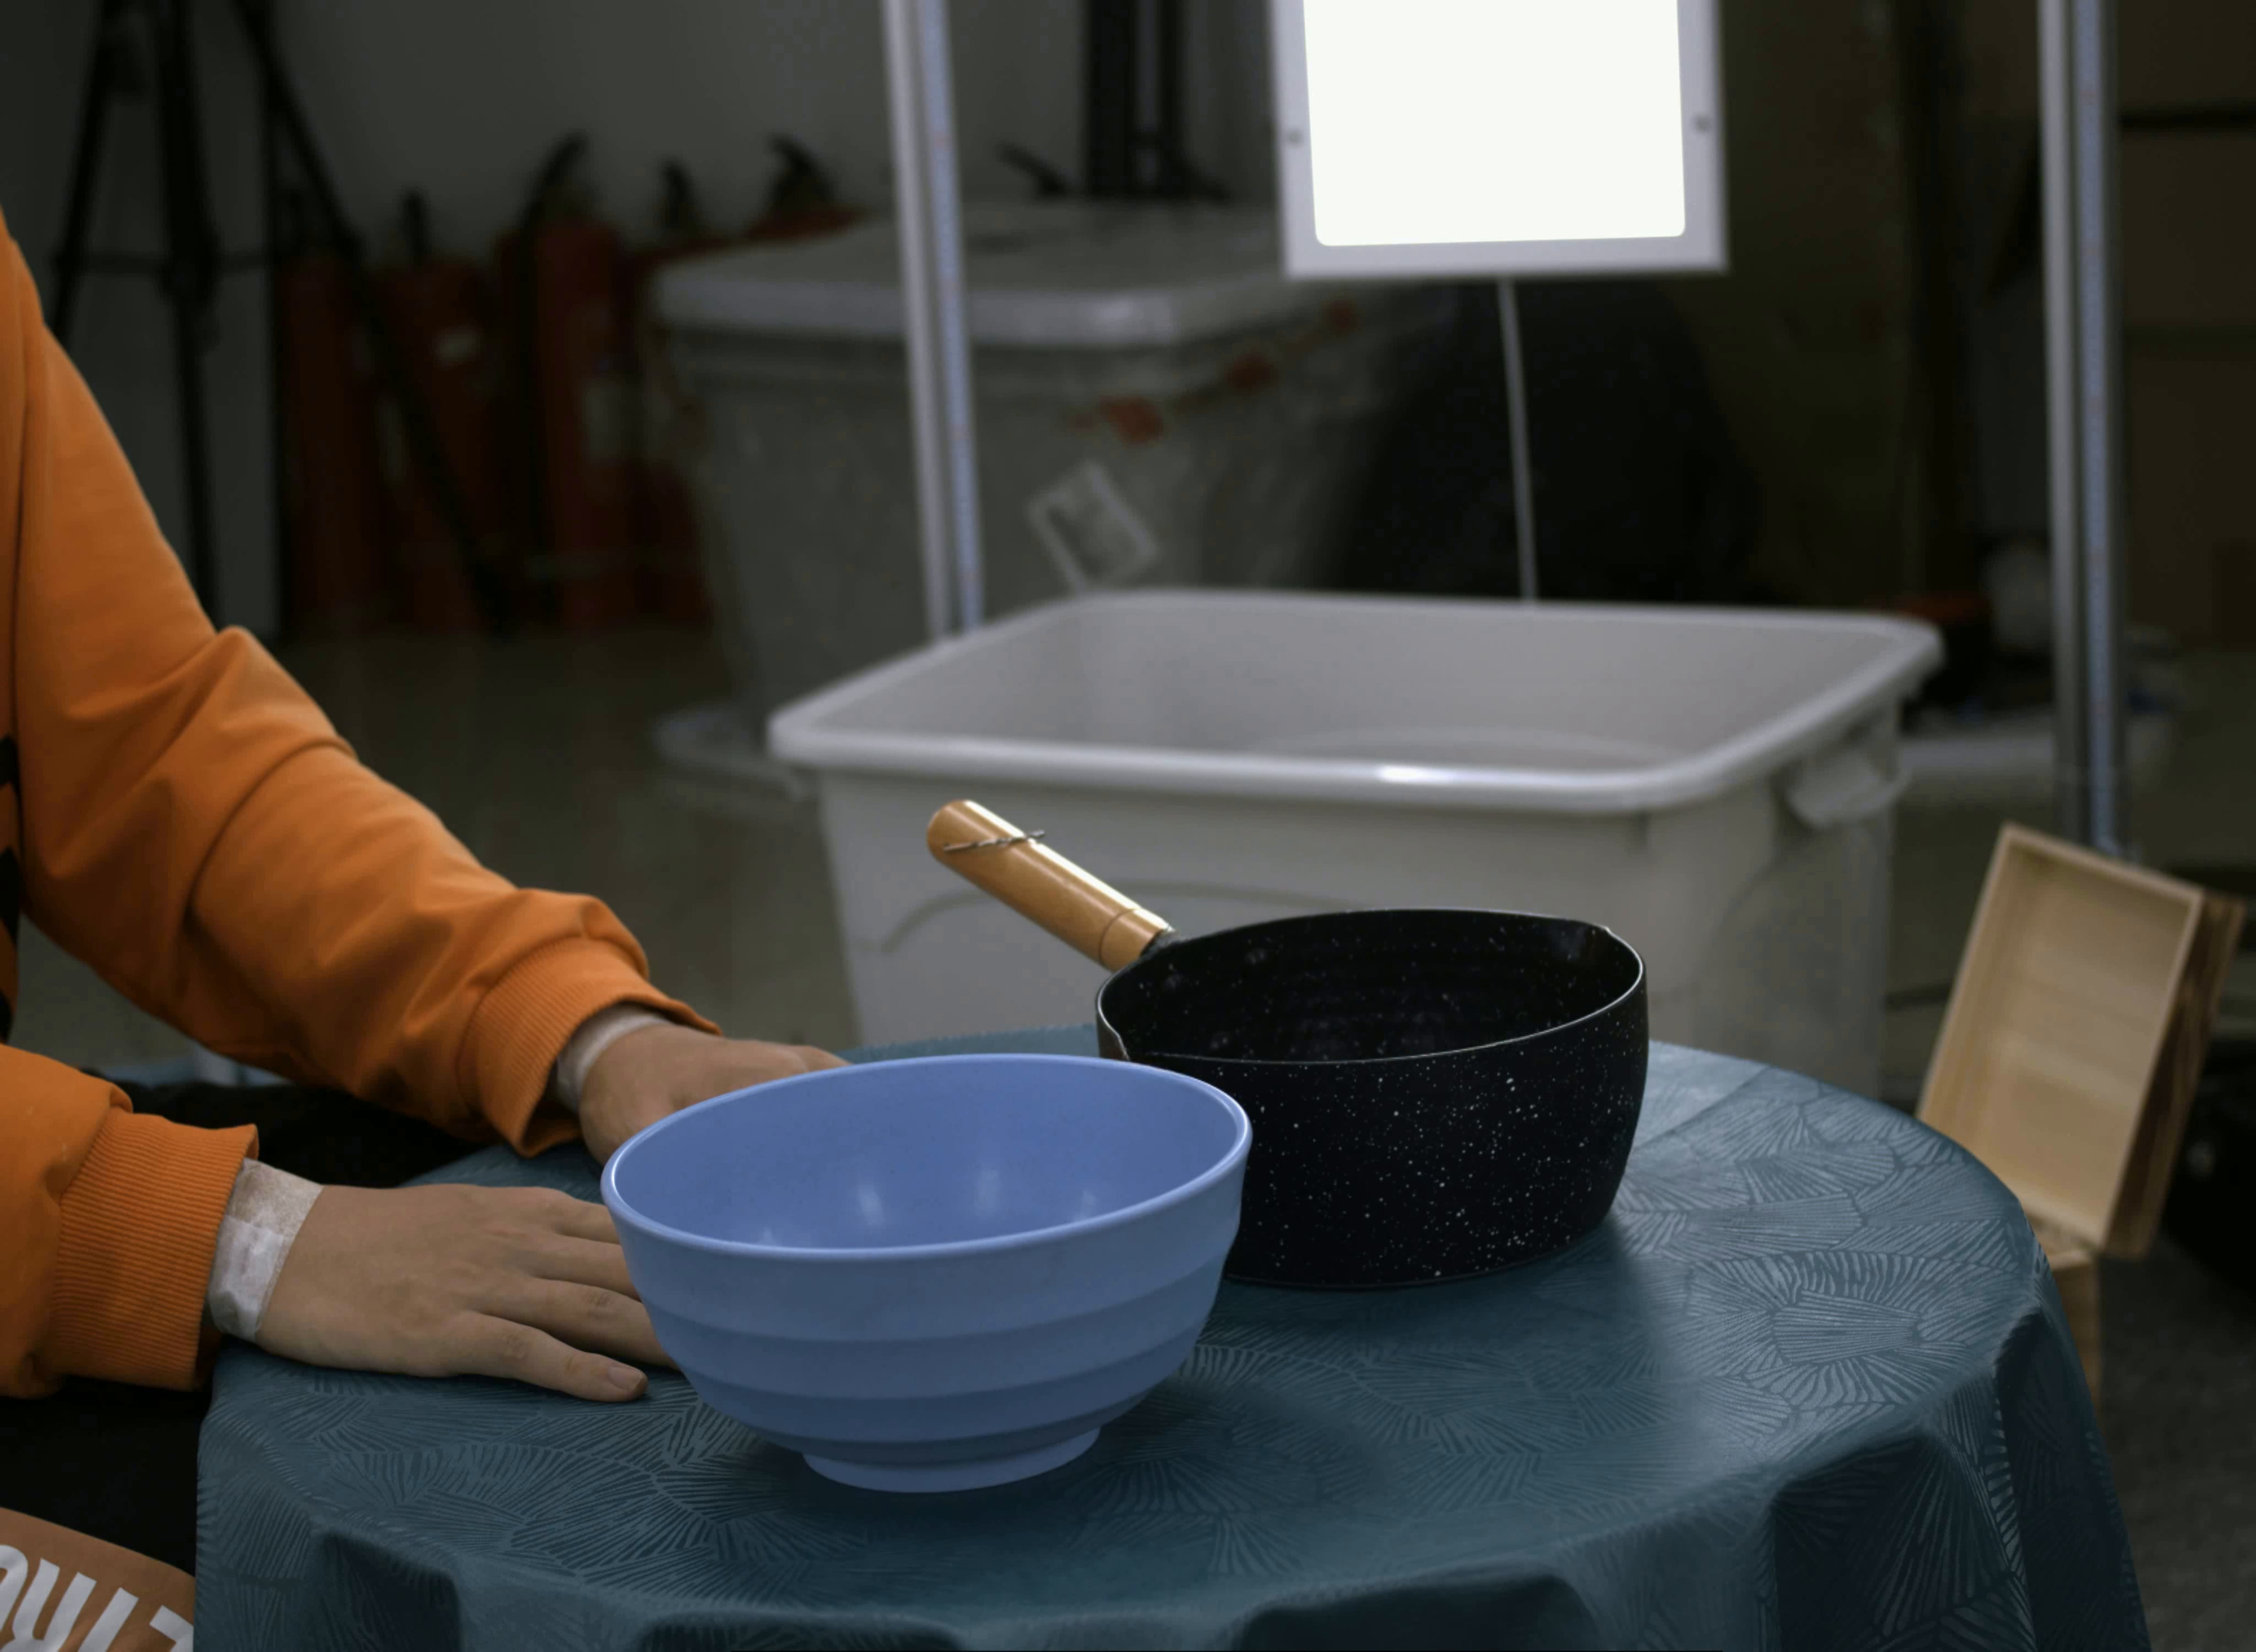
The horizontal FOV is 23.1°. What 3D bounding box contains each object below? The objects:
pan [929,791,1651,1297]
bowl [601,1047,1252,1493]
[{"bbox_3d":[0.035,0.068,1.894,0.202,0.108,0.350,-16,19,-33],"label":"pan"},{"bbox_3d":[-0.057,0.140,1.661,0.196,0.096,0.196,-5,15,0],"label":"bowl"}]
